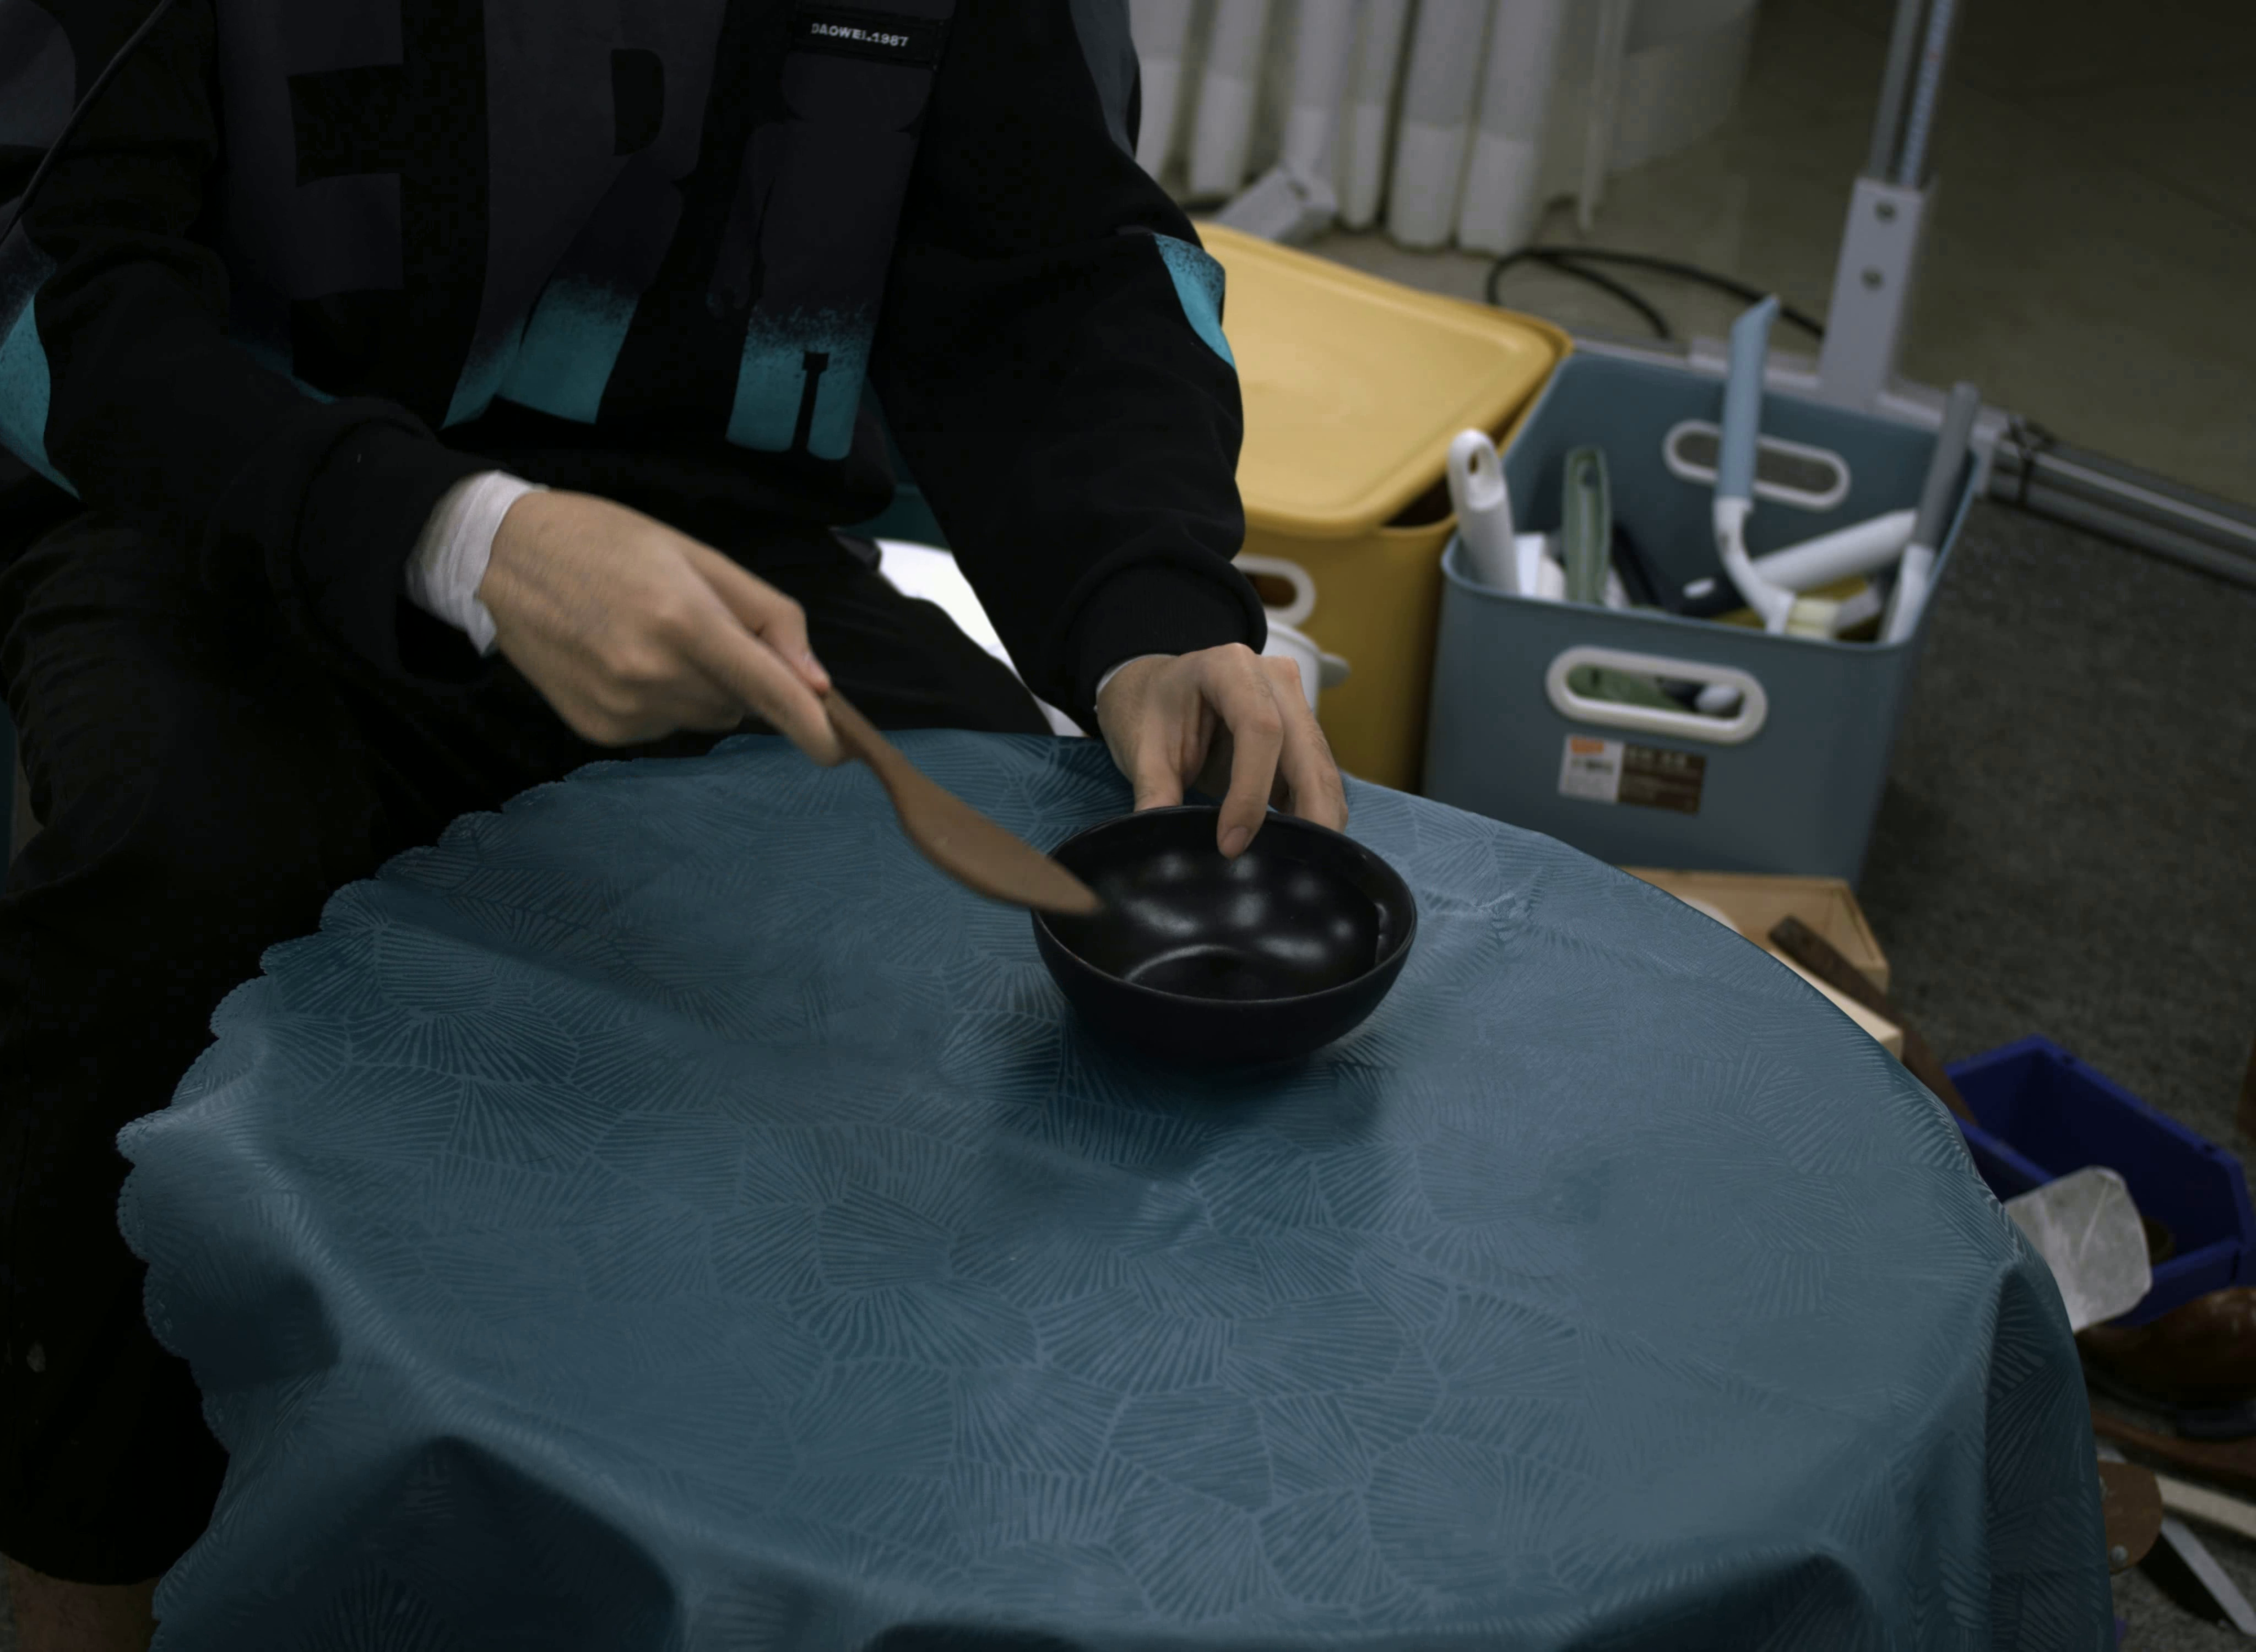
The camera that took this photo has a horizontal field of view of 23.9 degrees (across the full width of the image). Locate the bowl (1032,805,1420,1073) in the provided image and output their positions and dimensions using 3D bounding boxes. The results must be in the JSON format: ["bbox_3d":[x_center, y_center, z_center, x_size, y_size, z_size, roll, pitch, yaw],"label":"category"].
[{"bbox_3d":[0.034,0.048,1.899,0.139,0.049,0.141,1,30,-1],"label":"bowl"}]

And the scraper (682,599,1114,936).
[{"bbox_3d":[-0.088,-0.021,1.828,0.075,0.011,0.213,10,26,-50],"label":"scraper"}]
